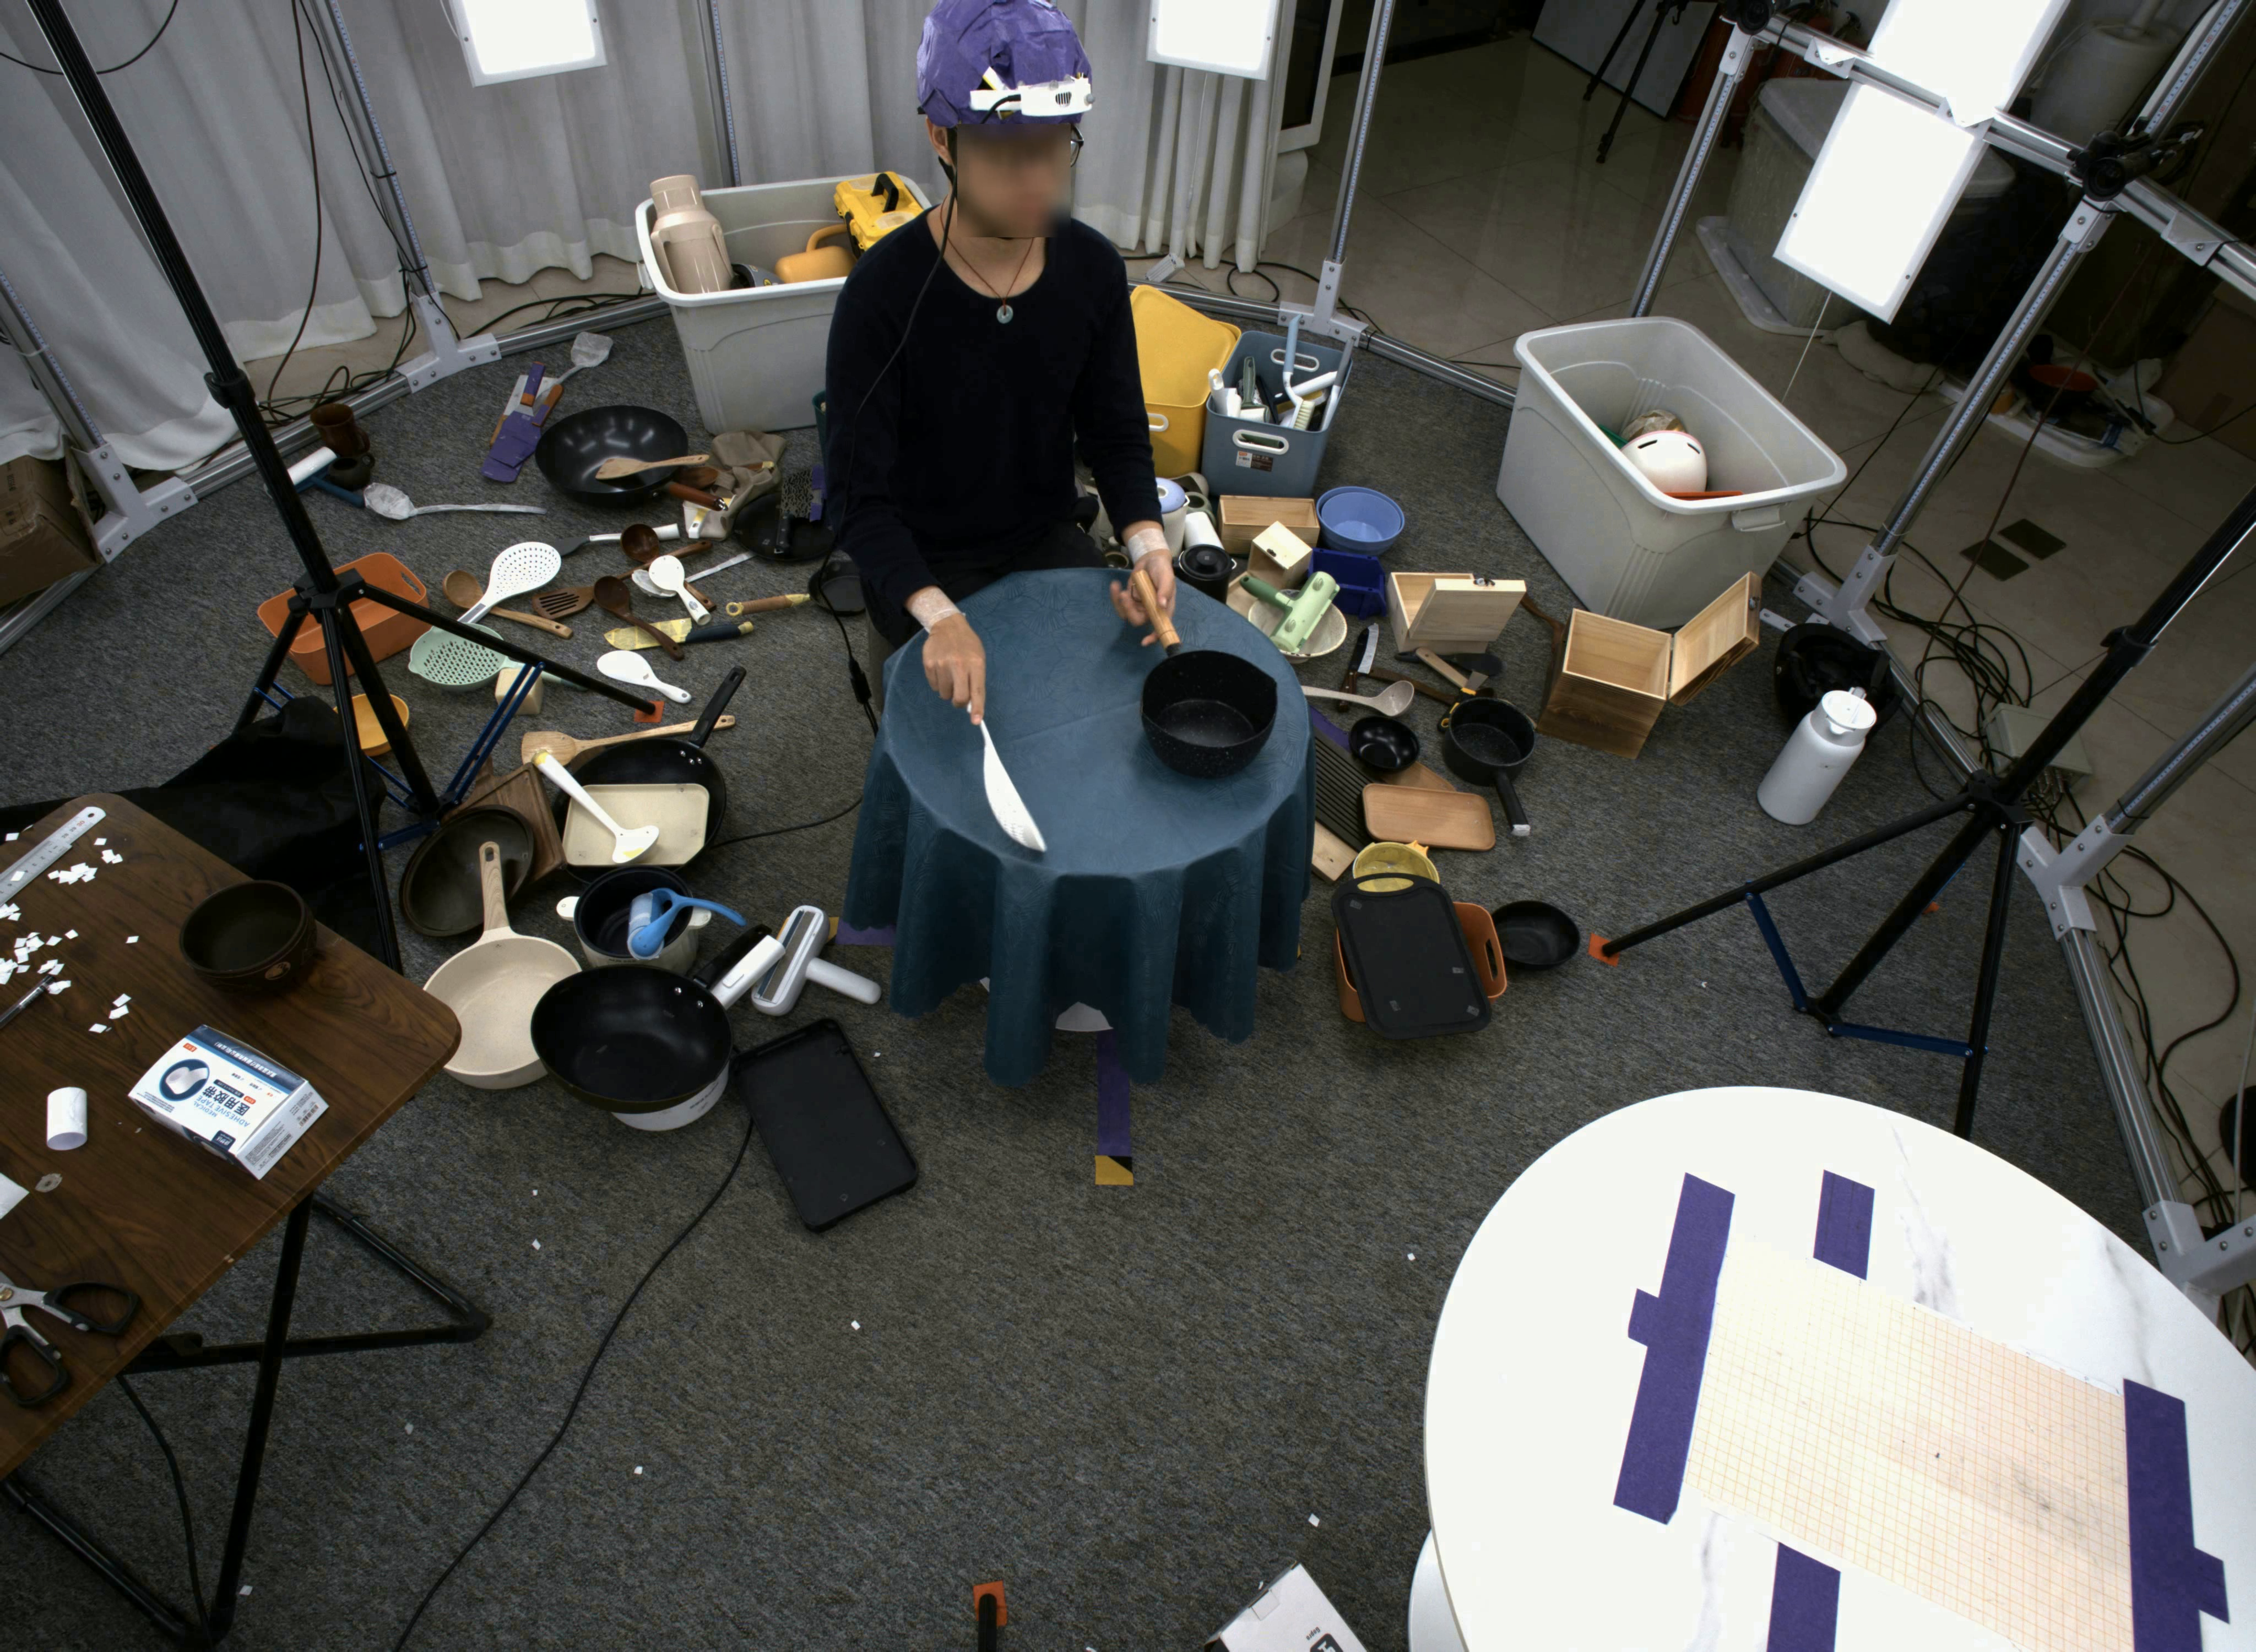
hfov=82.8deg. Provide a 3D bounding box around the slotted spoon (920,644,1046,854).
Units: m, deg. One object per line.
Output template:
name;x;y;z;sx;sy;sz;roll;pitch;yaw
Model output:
slotted spoon;-0.192;-0.108;1.654;0.050;0.134;0.355;-24;61;0

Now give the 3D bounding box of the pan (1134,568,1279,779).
pan;0.077;-0.213;1.788;0.207;0.105;0.351;-17;54;-16
